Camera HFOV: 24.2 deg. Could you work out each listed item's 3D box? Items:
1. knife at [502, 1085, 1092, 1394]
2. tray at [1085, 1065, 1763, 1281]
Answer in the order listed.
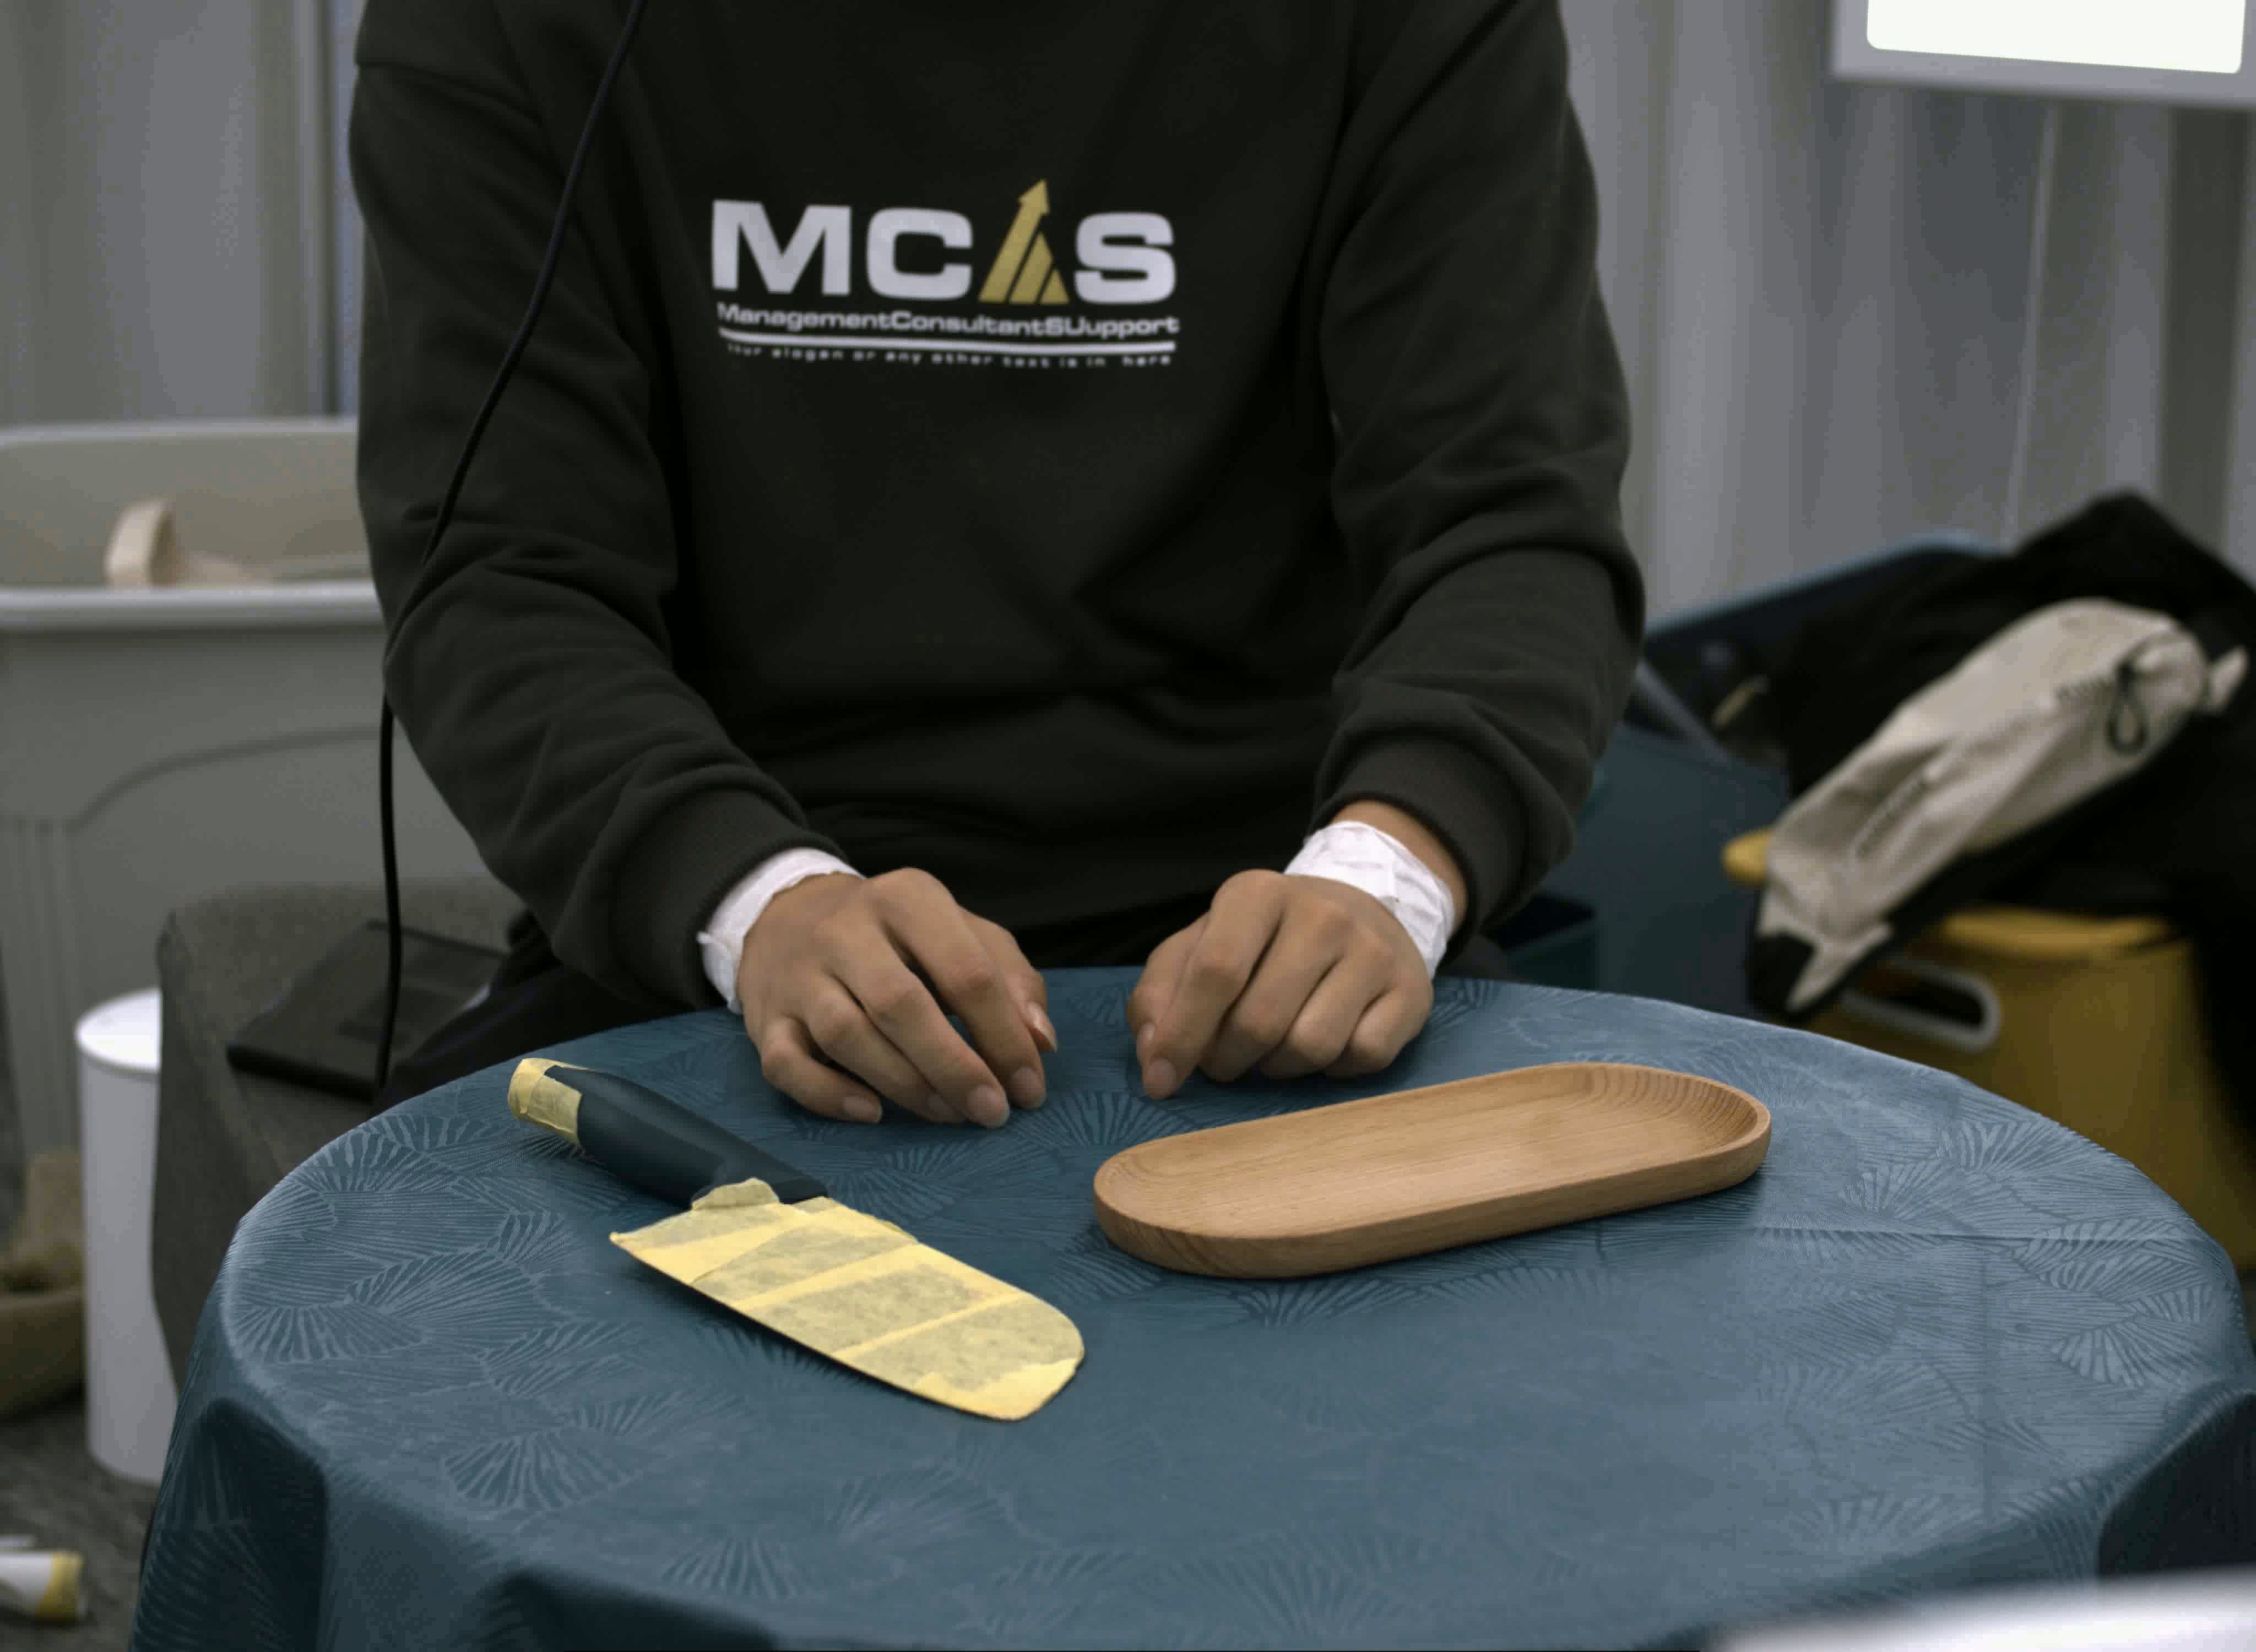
[{"bbox_3d":[-0.110,0.123,1.555,0.081,0.027,0.285,-10,19,-38],"label":"knife"},{"bbox_3d":[0.093,0.106,1.621,0.232,0.020,0.100,-10,17,-31],"label":"tray"}]
